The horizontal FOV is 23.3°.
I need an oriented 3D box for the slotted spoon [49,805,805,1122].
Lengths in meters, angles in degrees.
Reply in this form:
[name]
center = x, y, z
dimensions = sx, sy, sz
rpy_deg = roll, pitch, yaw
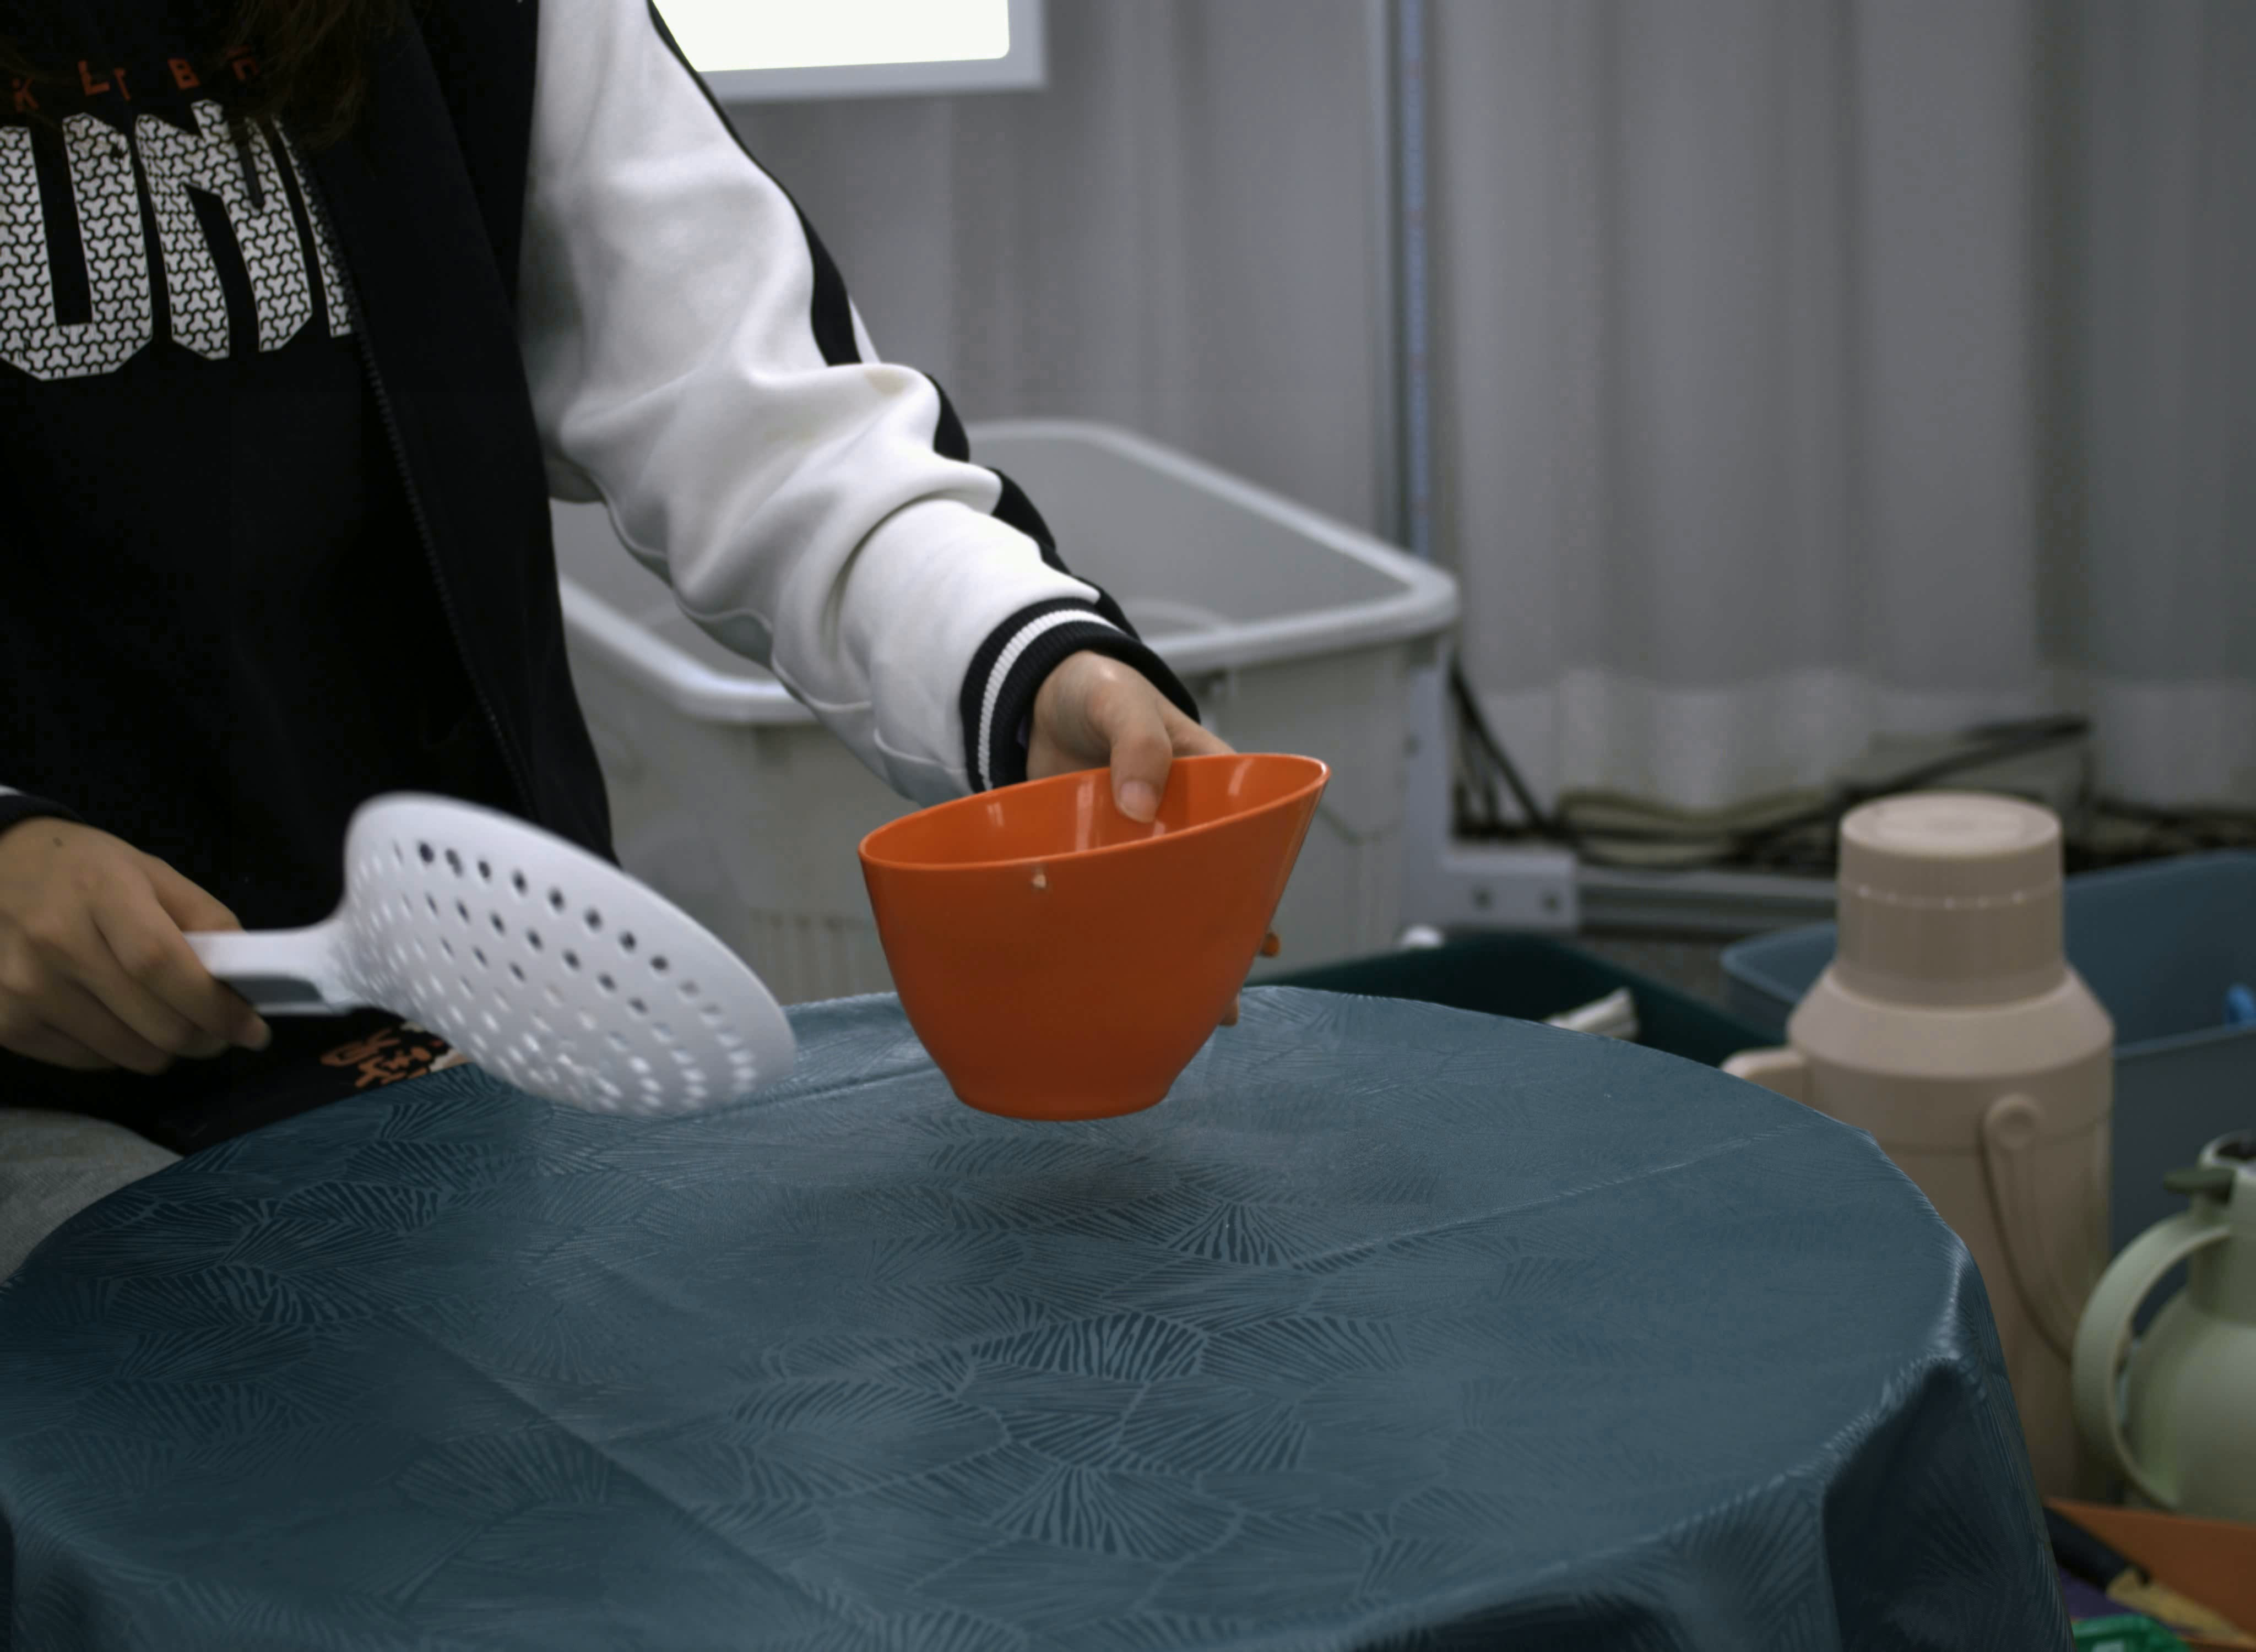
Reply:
[slotted spoon]
center = -0.219, 0.044, 1.571
dimensions = 0.351, 0.134, 0.046
rpy_deg = 3, 57, 54

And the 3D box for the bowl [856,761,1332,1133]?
[bowl]
center = -0.011, 0.037, 1.692
dimensions = 0.147, 0.104, 0.149
rpy_deg = -1, 13, 0
